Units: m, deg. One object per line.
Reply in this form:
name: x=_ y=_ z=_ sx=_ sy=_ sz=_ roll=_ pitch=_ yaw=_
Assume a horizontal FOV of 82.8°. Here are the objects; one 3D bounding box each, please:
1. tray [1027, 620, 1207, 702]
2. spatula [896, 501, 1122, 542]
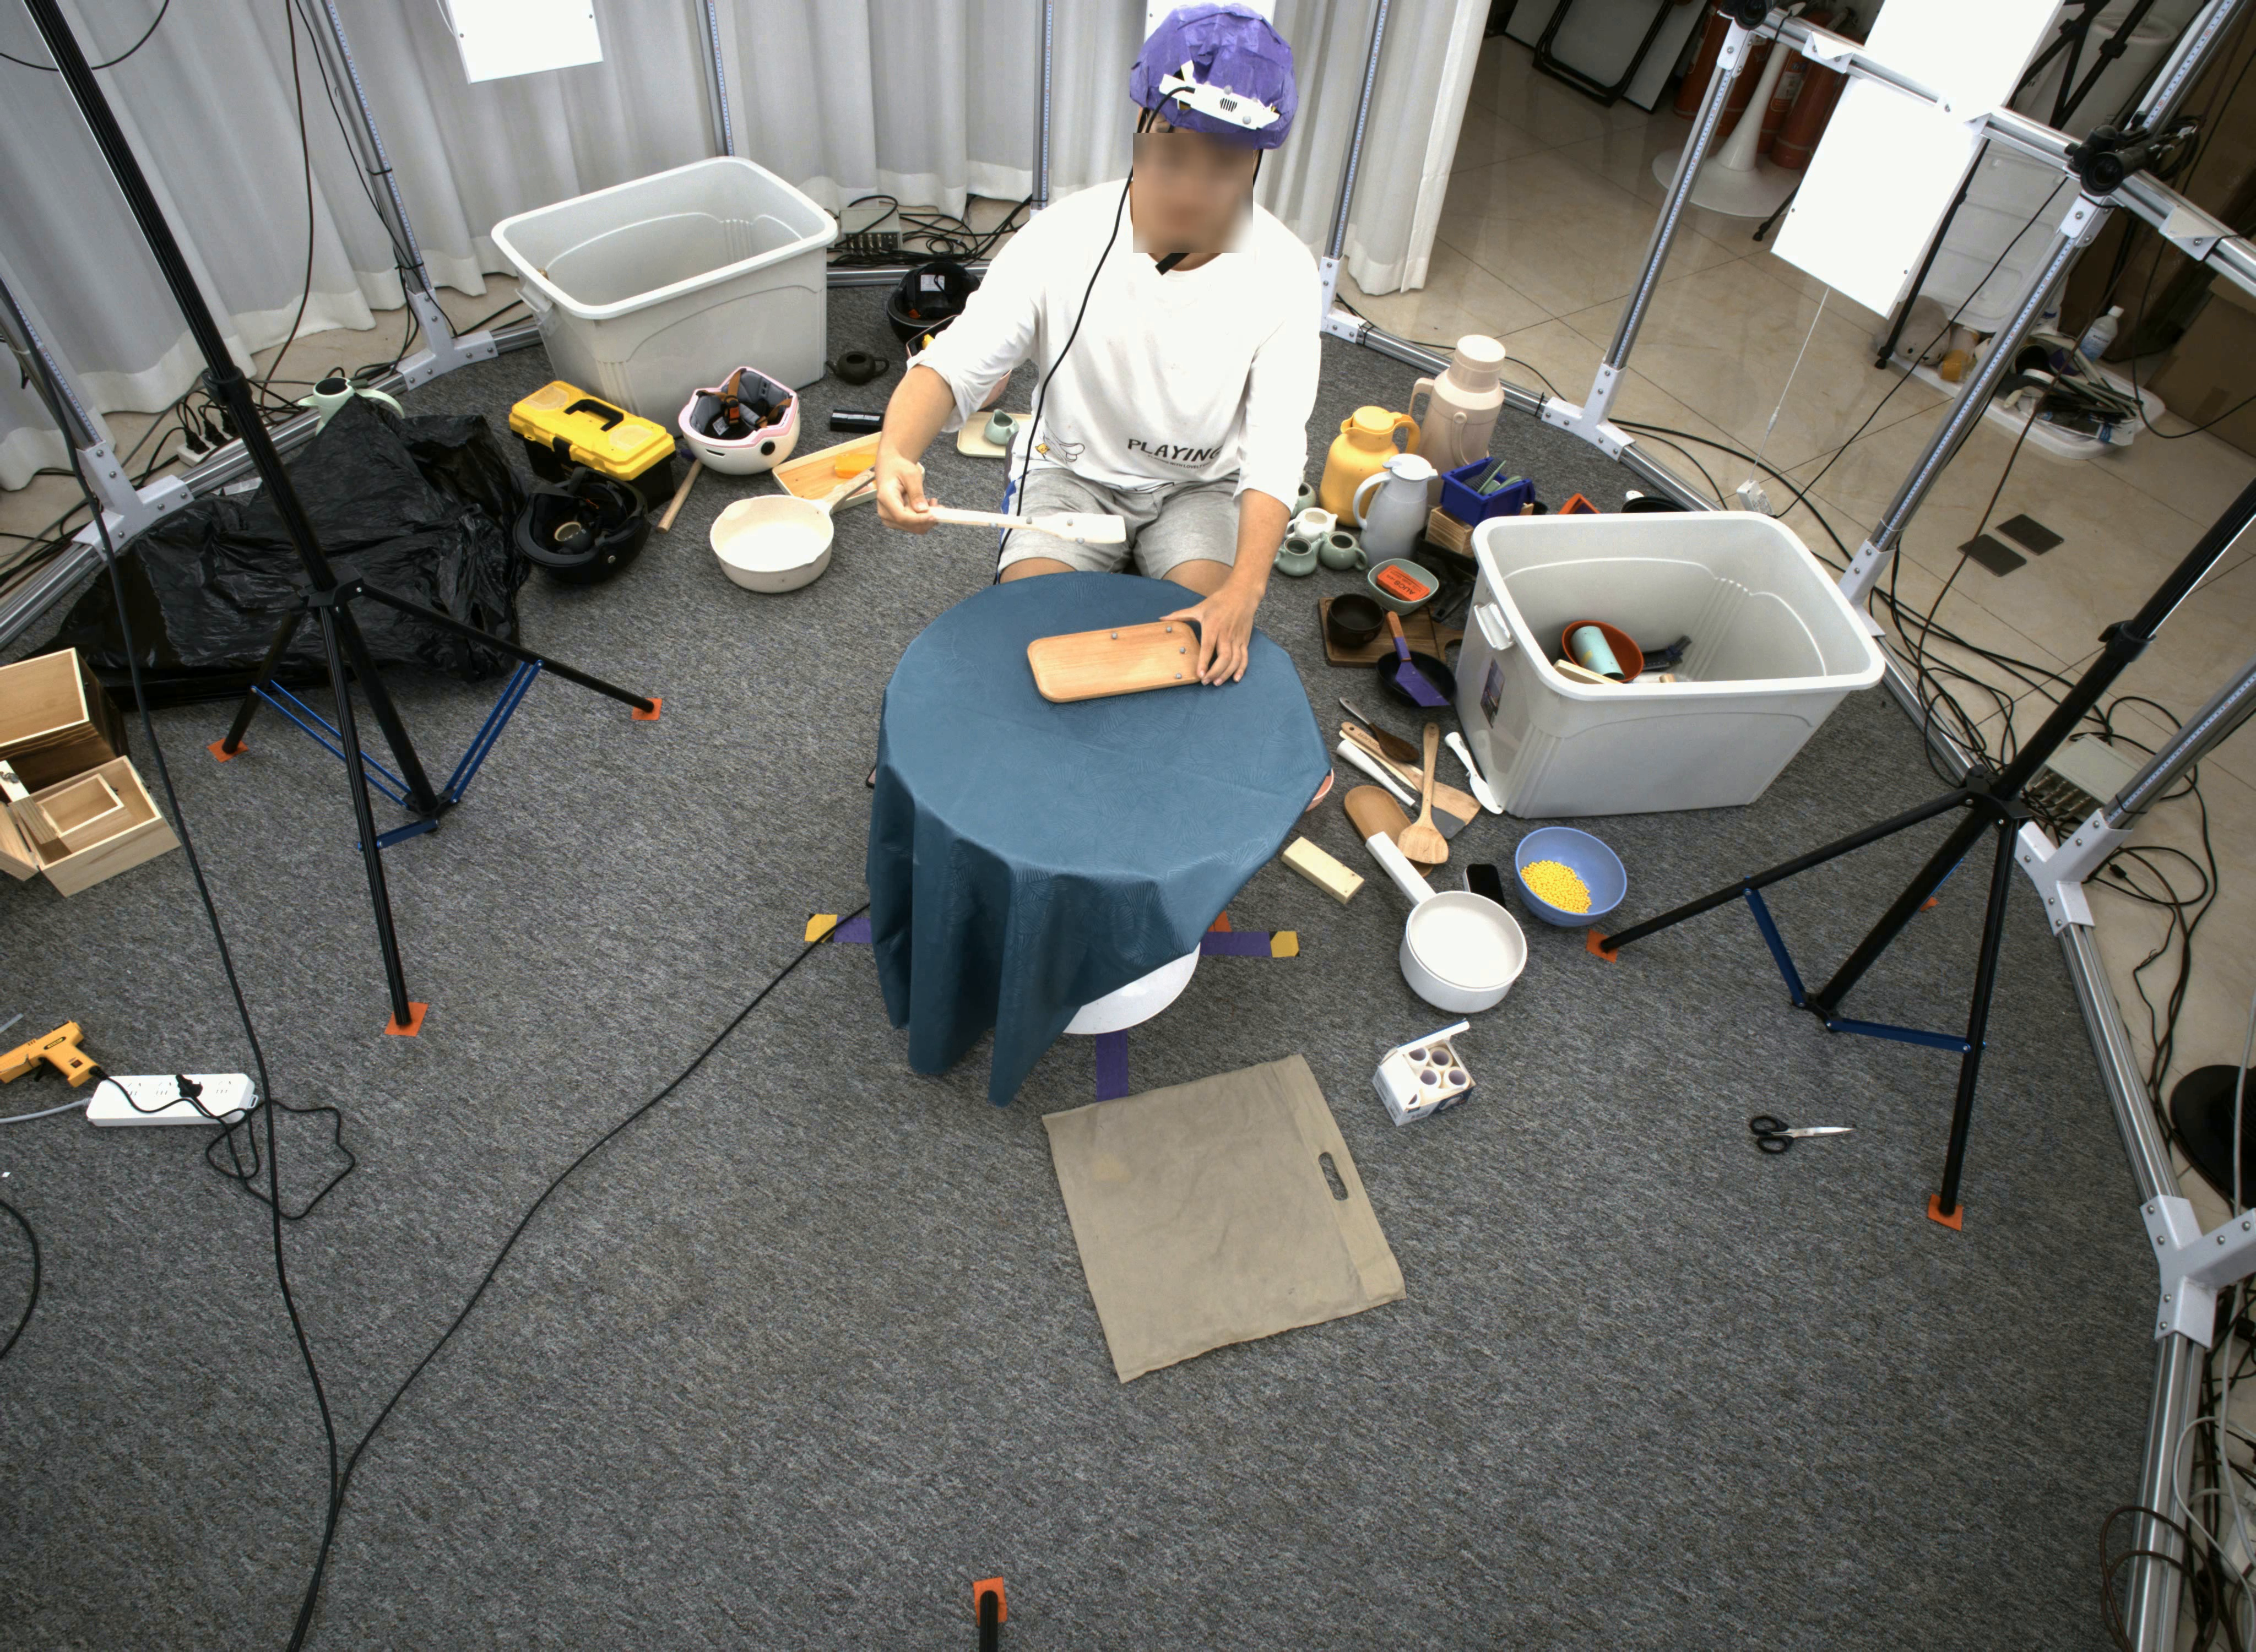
tray: x=-0.016 y=-0.240 z=1.862 sx=0.250 sy=0.022 sz=0.134 roll=-9 pitch=48 yaw=-11
spatula: x=-0.153 y=-0.400 z=1.682 sx=0.292 sy=0.010 sz=0.074 roll=3 pitch=40 yaw=-7
